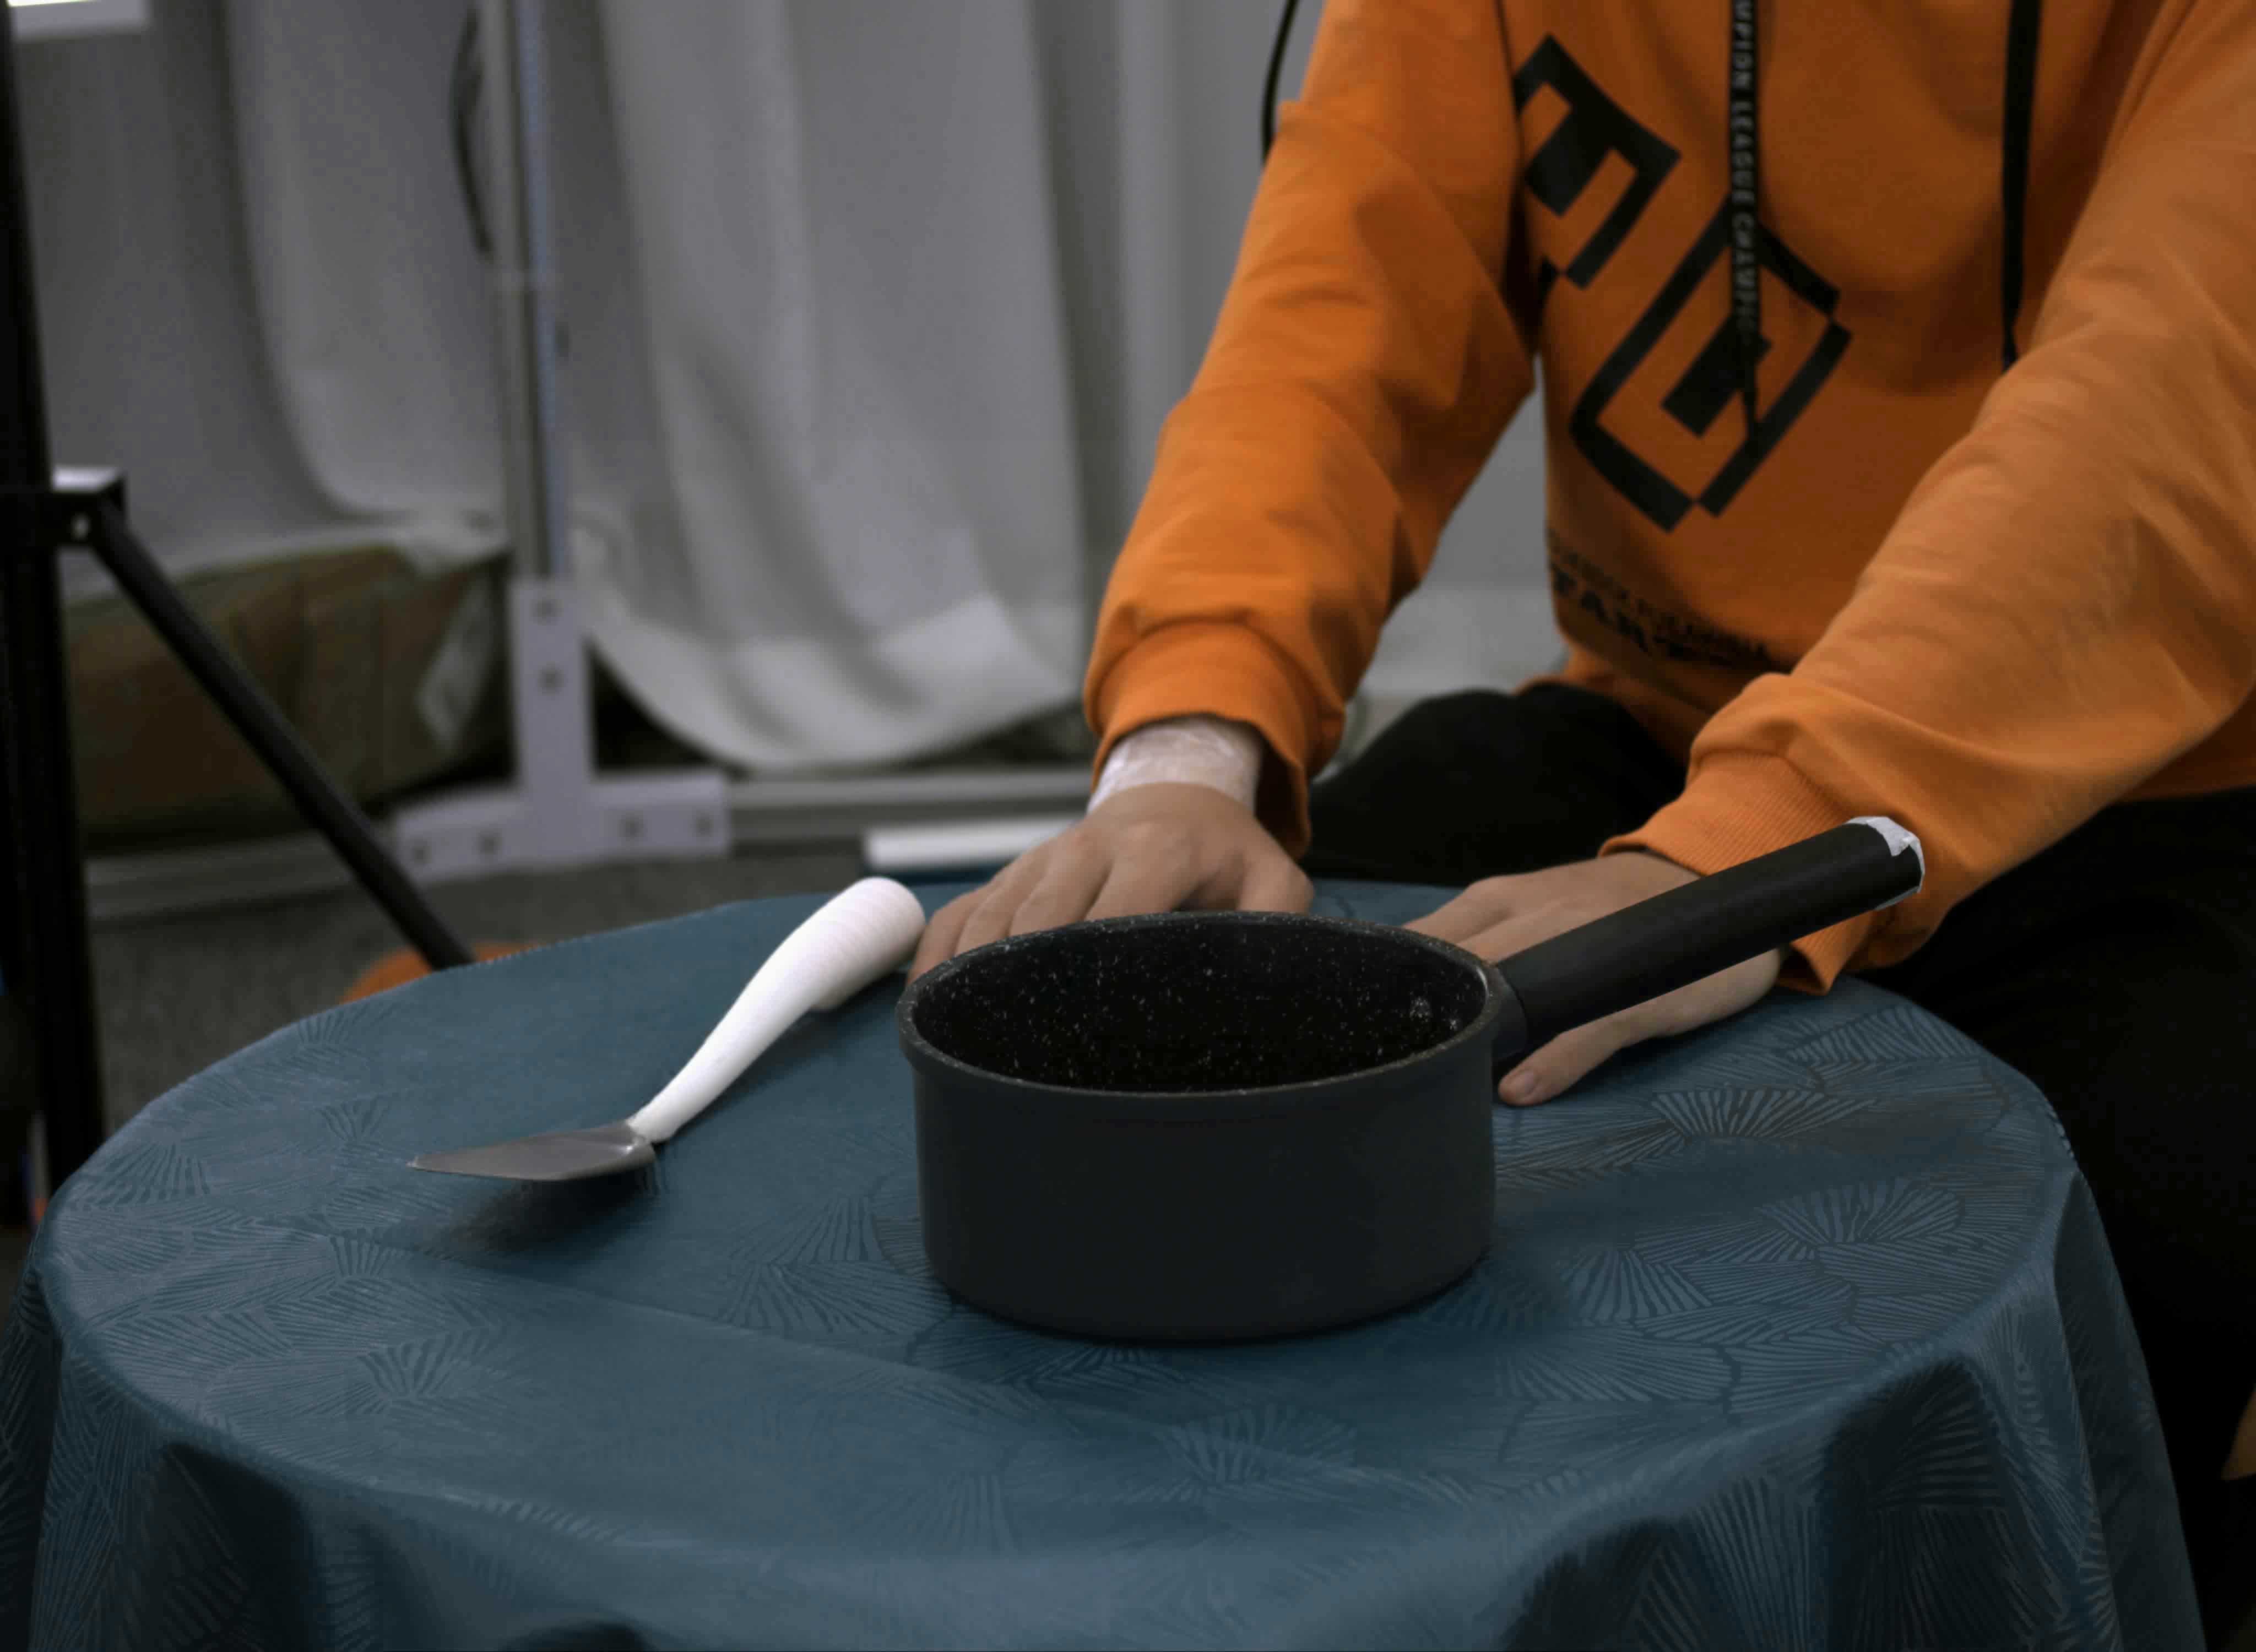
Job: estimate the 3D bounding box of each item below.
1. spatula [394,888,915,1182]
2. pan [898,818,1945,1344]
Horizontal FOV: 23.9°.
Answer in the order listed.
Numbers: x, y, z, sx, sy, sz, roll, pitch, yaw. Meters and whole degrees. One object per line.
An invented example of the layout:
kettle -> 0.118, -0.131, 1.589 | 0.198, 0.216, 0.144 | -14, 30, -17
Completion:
spatula -> -0.136, 0.072, 1.650 | 0.059, 0.032, 0.284 | 7, 17, 21
pan -> 0.092, 0.068, 1.527 | 0.322, 0.086, 0.175 | -11, 18, -23
